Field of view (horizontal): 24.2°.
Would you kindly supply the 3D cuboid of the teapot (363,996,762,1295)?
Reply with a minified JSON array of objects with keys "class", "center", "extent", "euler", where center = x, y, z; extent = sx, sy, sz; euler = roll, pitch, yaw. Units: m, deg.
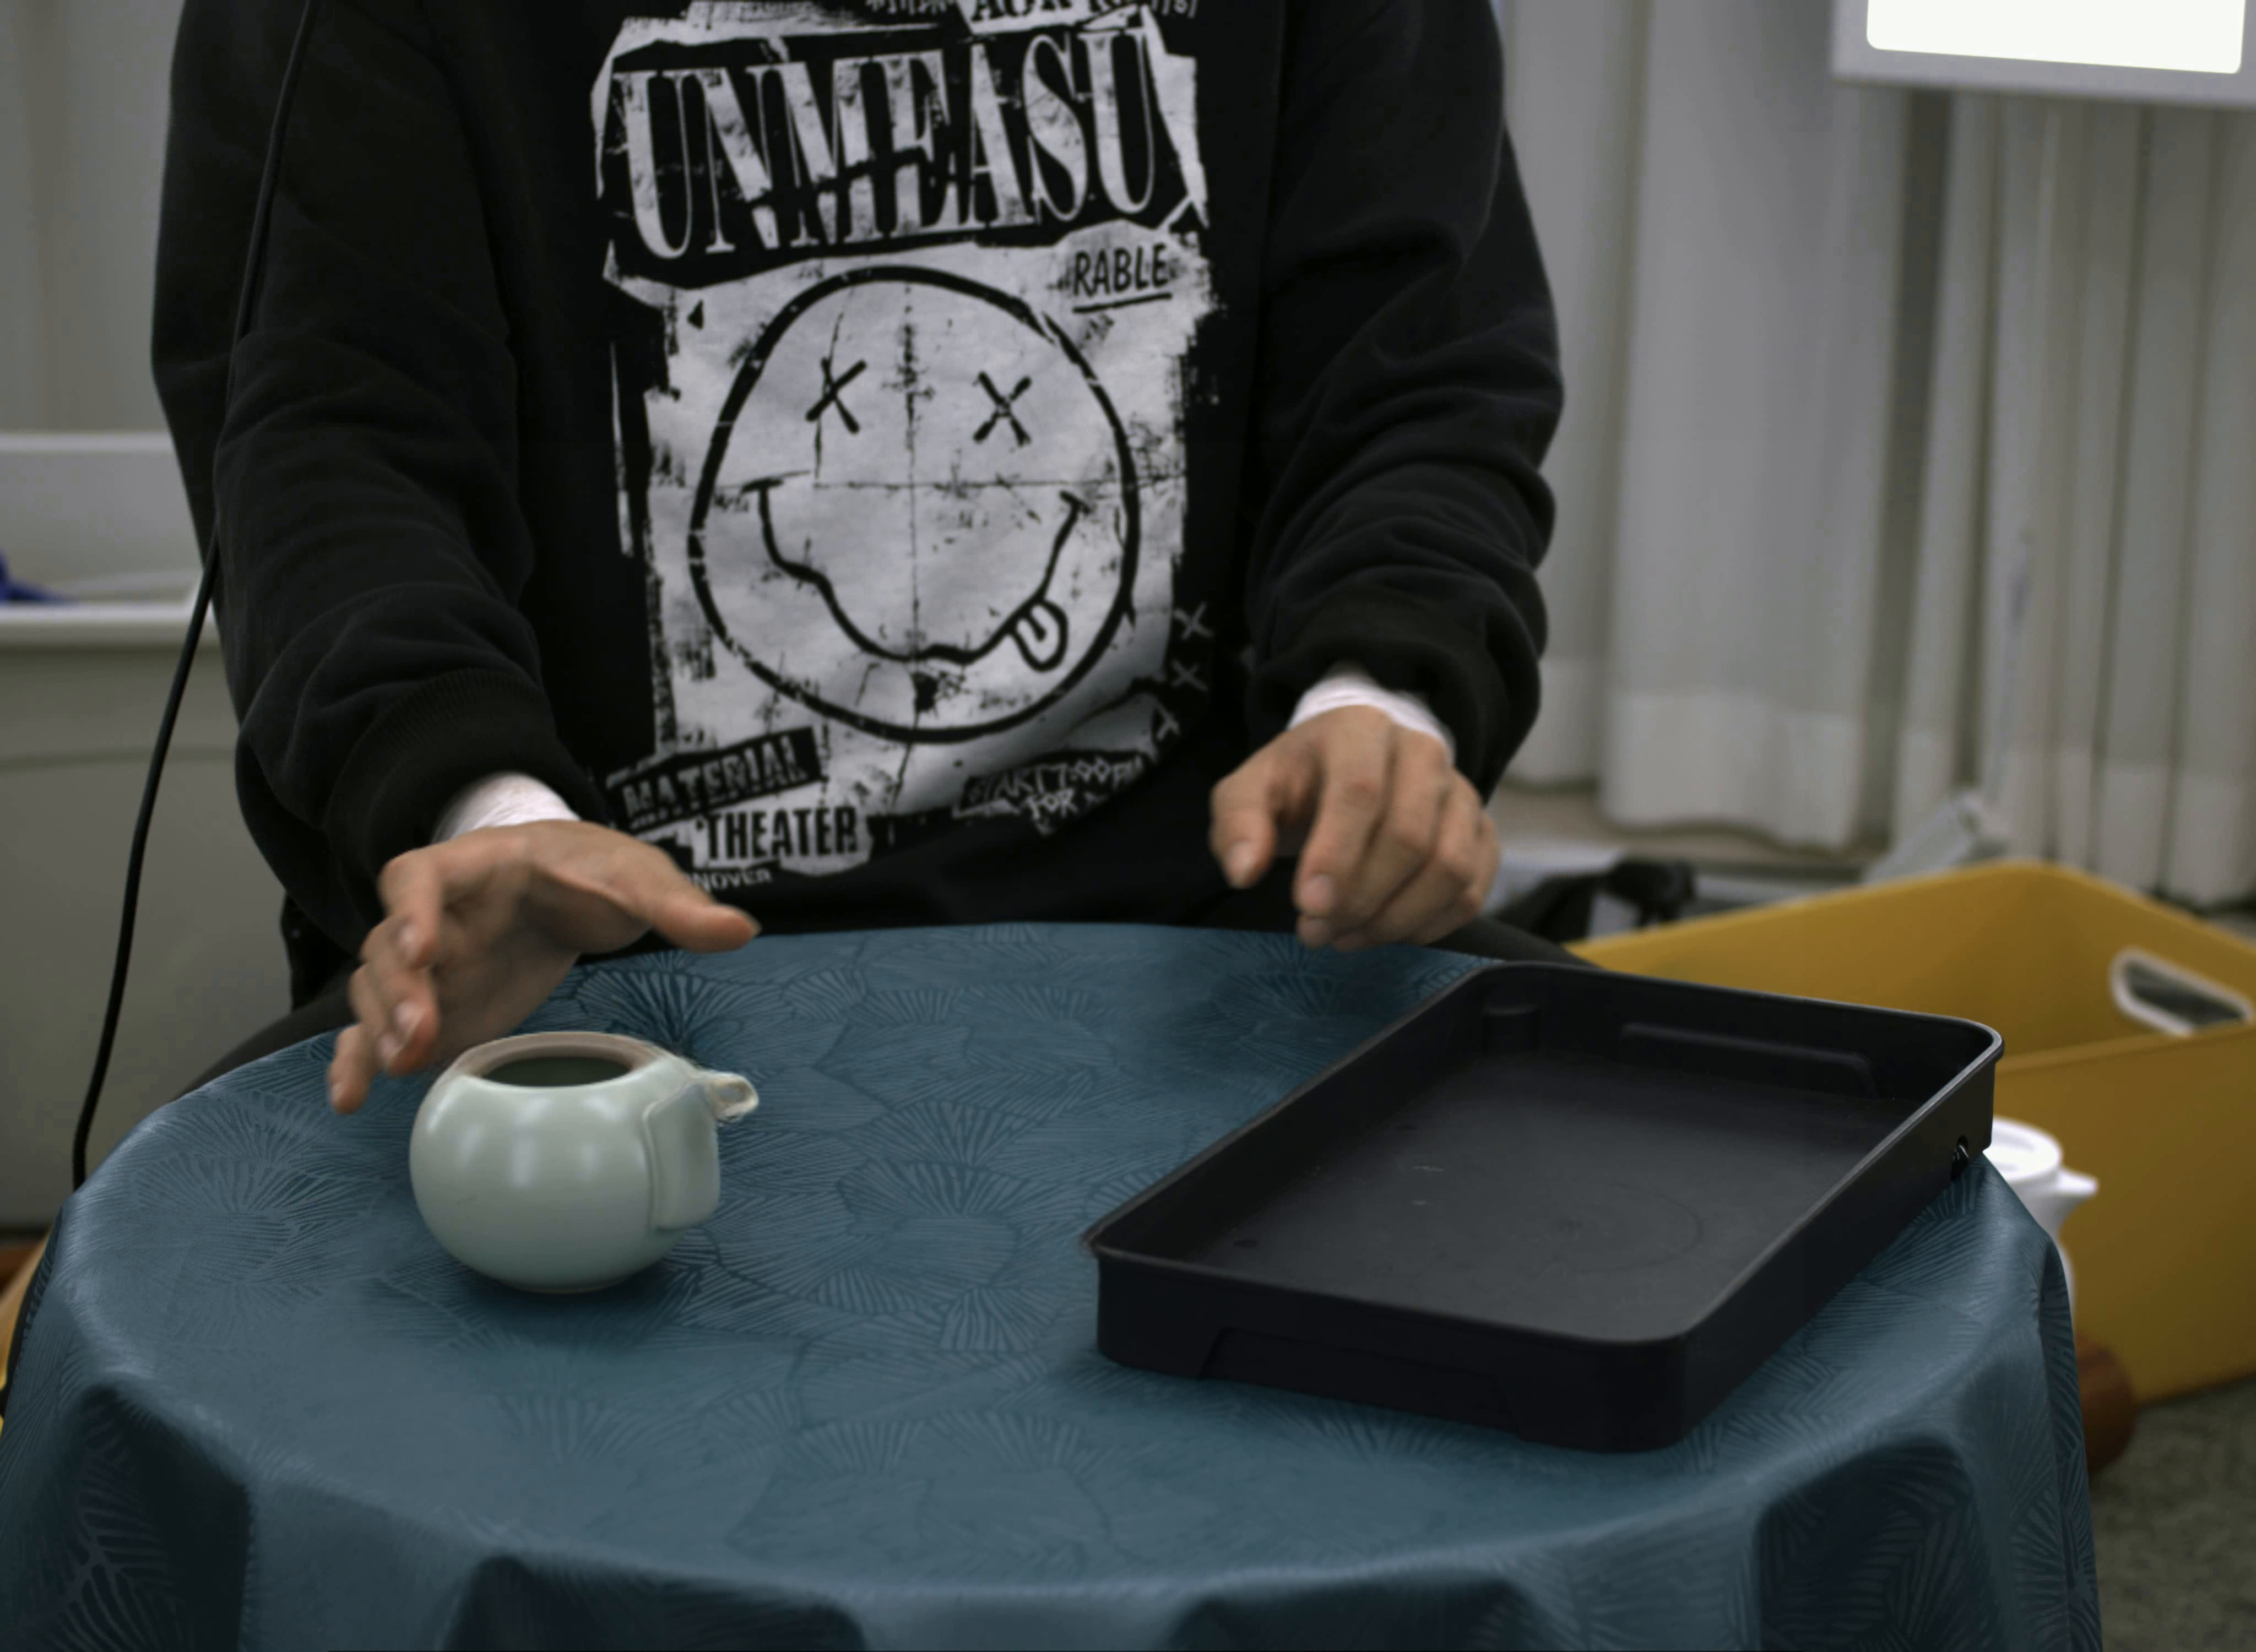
[{"class":"teapot","center":[-0.165,0.096,1.541],"extent":[0.142,0.075,0.088],"euler":[12,20,32]}]

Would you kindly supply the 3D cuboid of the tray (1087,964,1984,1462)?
[{"class":"tray","center":[0.129,0.108,1.574],"extent":[0.182,0.037,0.318],"euler":[8,17,23]}]
